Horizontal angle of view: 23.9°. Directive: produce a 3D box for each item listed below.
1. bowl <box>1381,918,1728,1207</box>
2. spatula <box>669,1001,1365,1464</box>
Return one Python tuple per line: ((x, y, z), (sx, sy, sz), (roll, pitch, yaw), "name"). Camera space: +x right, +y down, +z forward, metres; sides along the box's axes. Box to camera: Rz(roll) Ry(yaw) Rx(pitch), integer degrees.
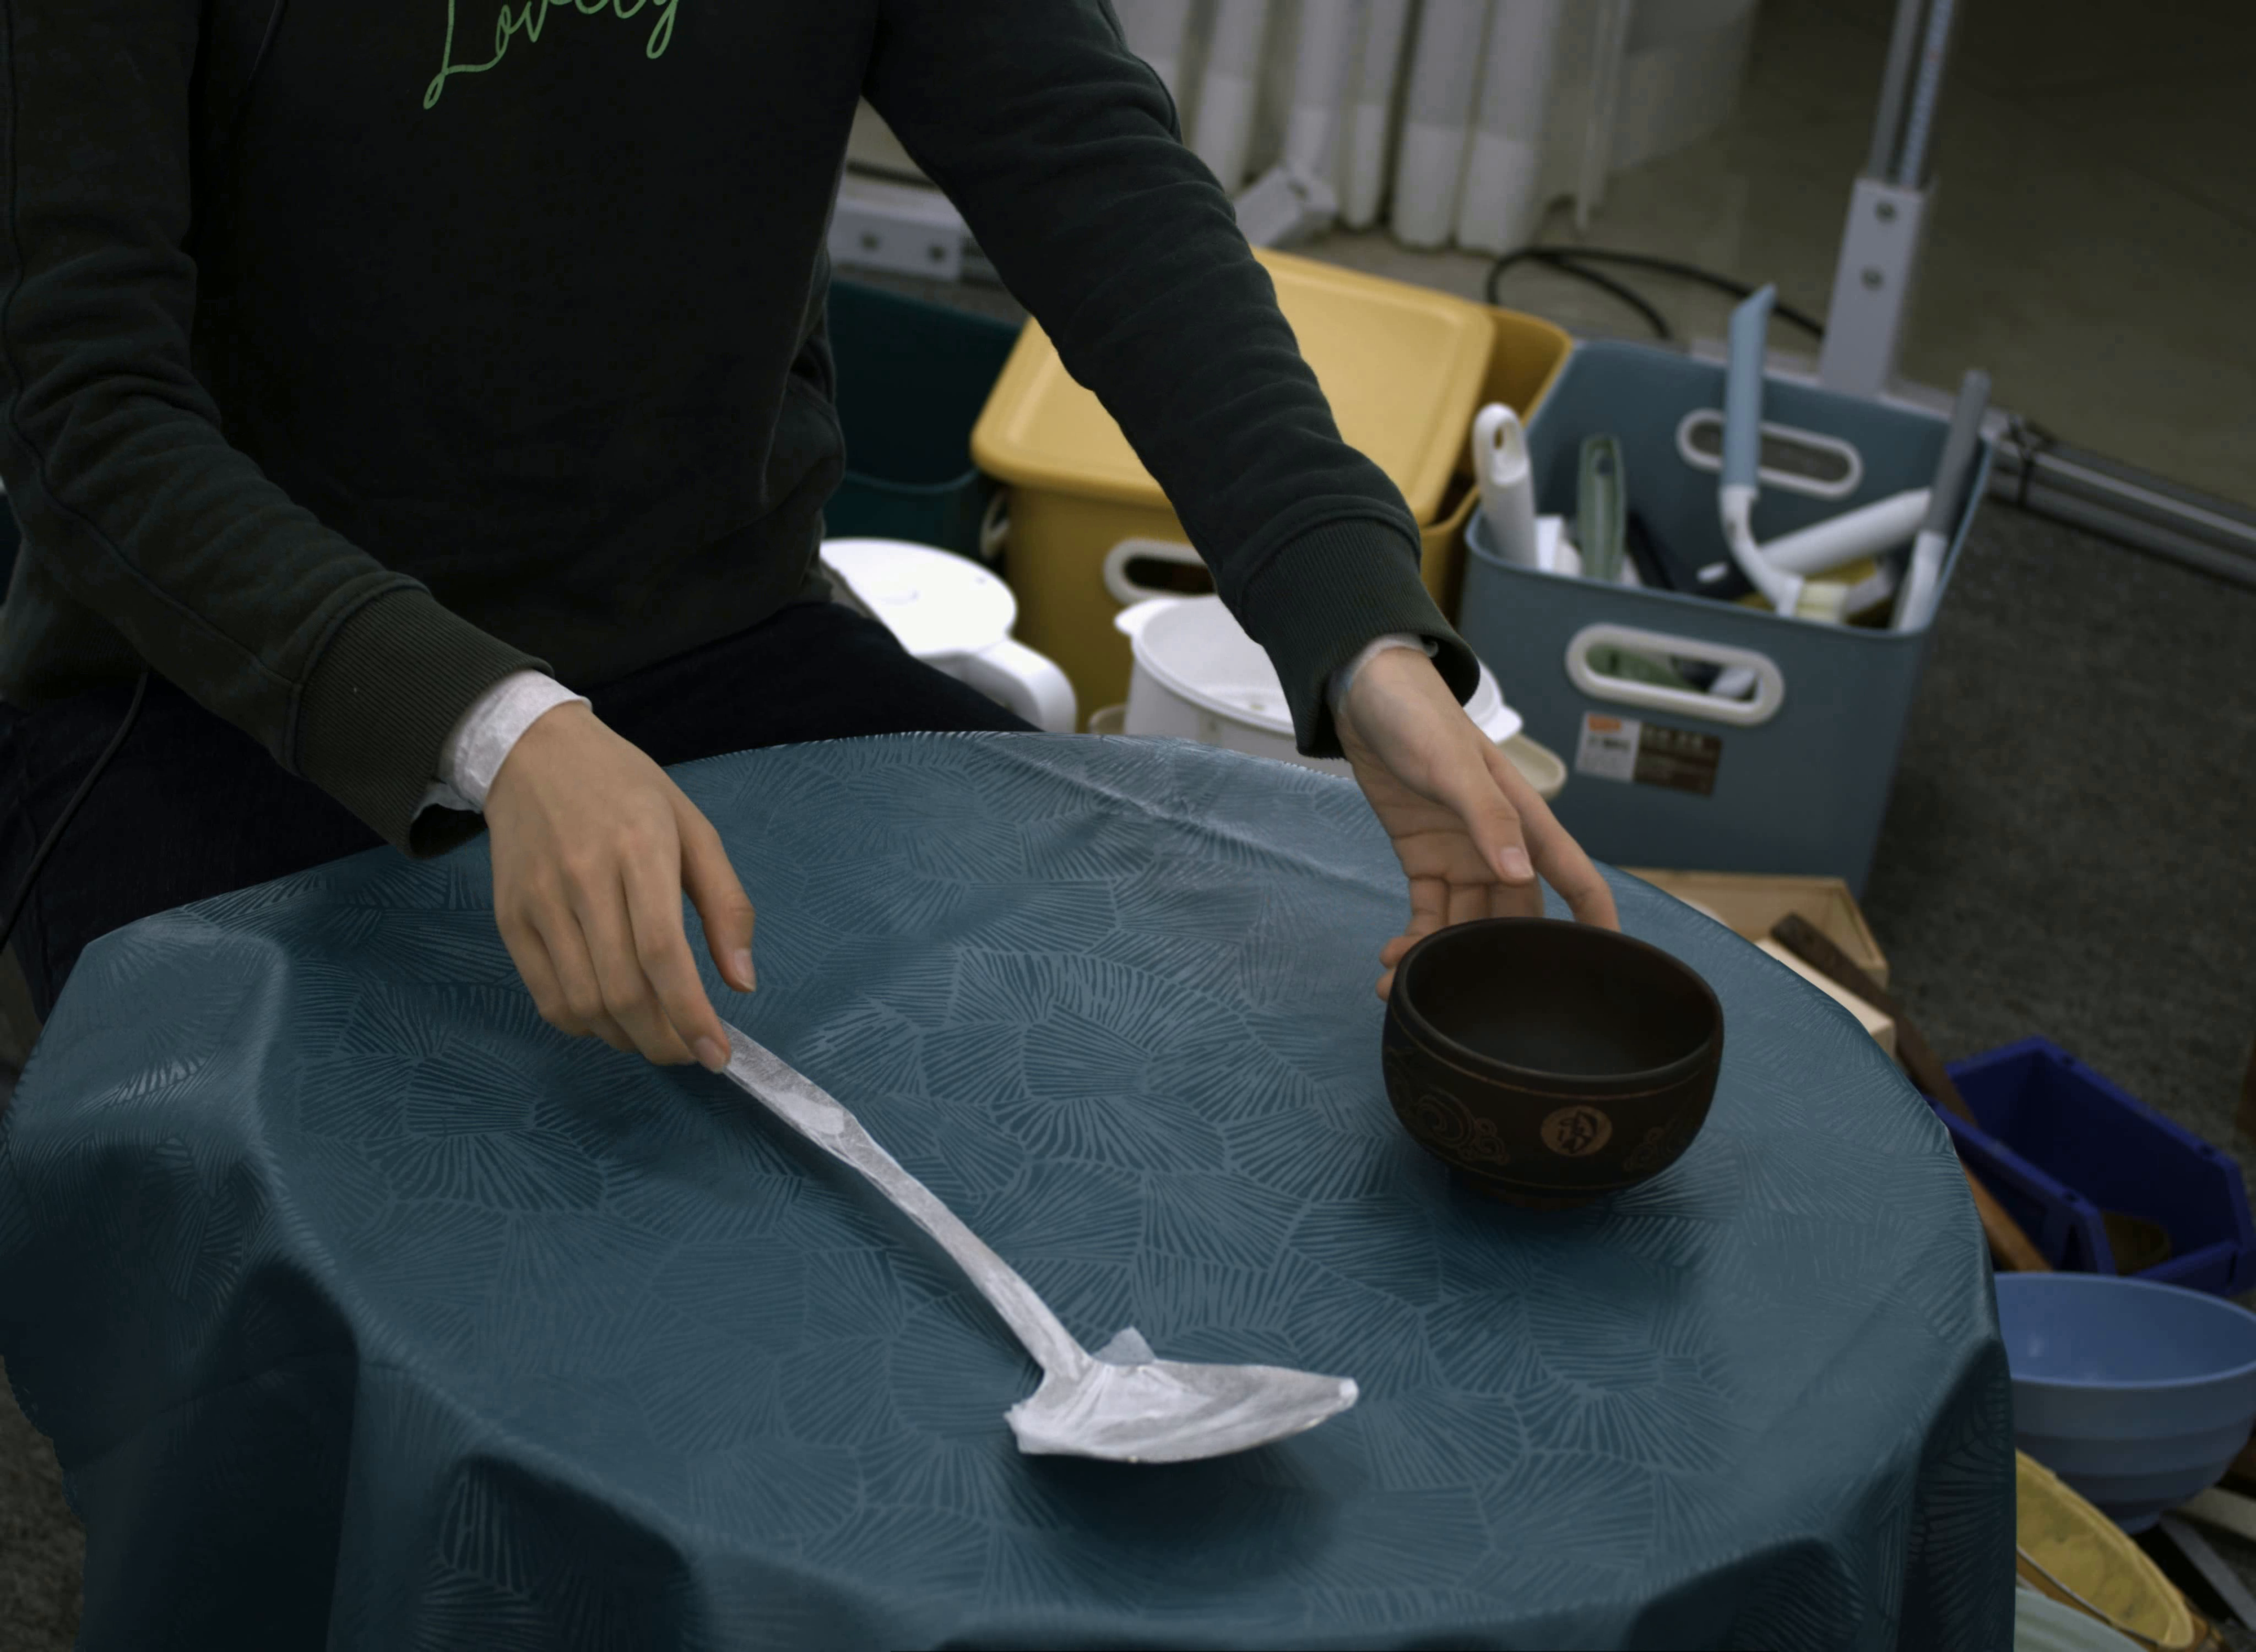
((0.144, 0.088, 1.826), (0.117, 0.069, 0.118), (5, 24, -2), "bowl")
((-0.060, 0.124, 1.742), (0.098, 0.044, 0.368), (-14, 33, -32), "spatula")
